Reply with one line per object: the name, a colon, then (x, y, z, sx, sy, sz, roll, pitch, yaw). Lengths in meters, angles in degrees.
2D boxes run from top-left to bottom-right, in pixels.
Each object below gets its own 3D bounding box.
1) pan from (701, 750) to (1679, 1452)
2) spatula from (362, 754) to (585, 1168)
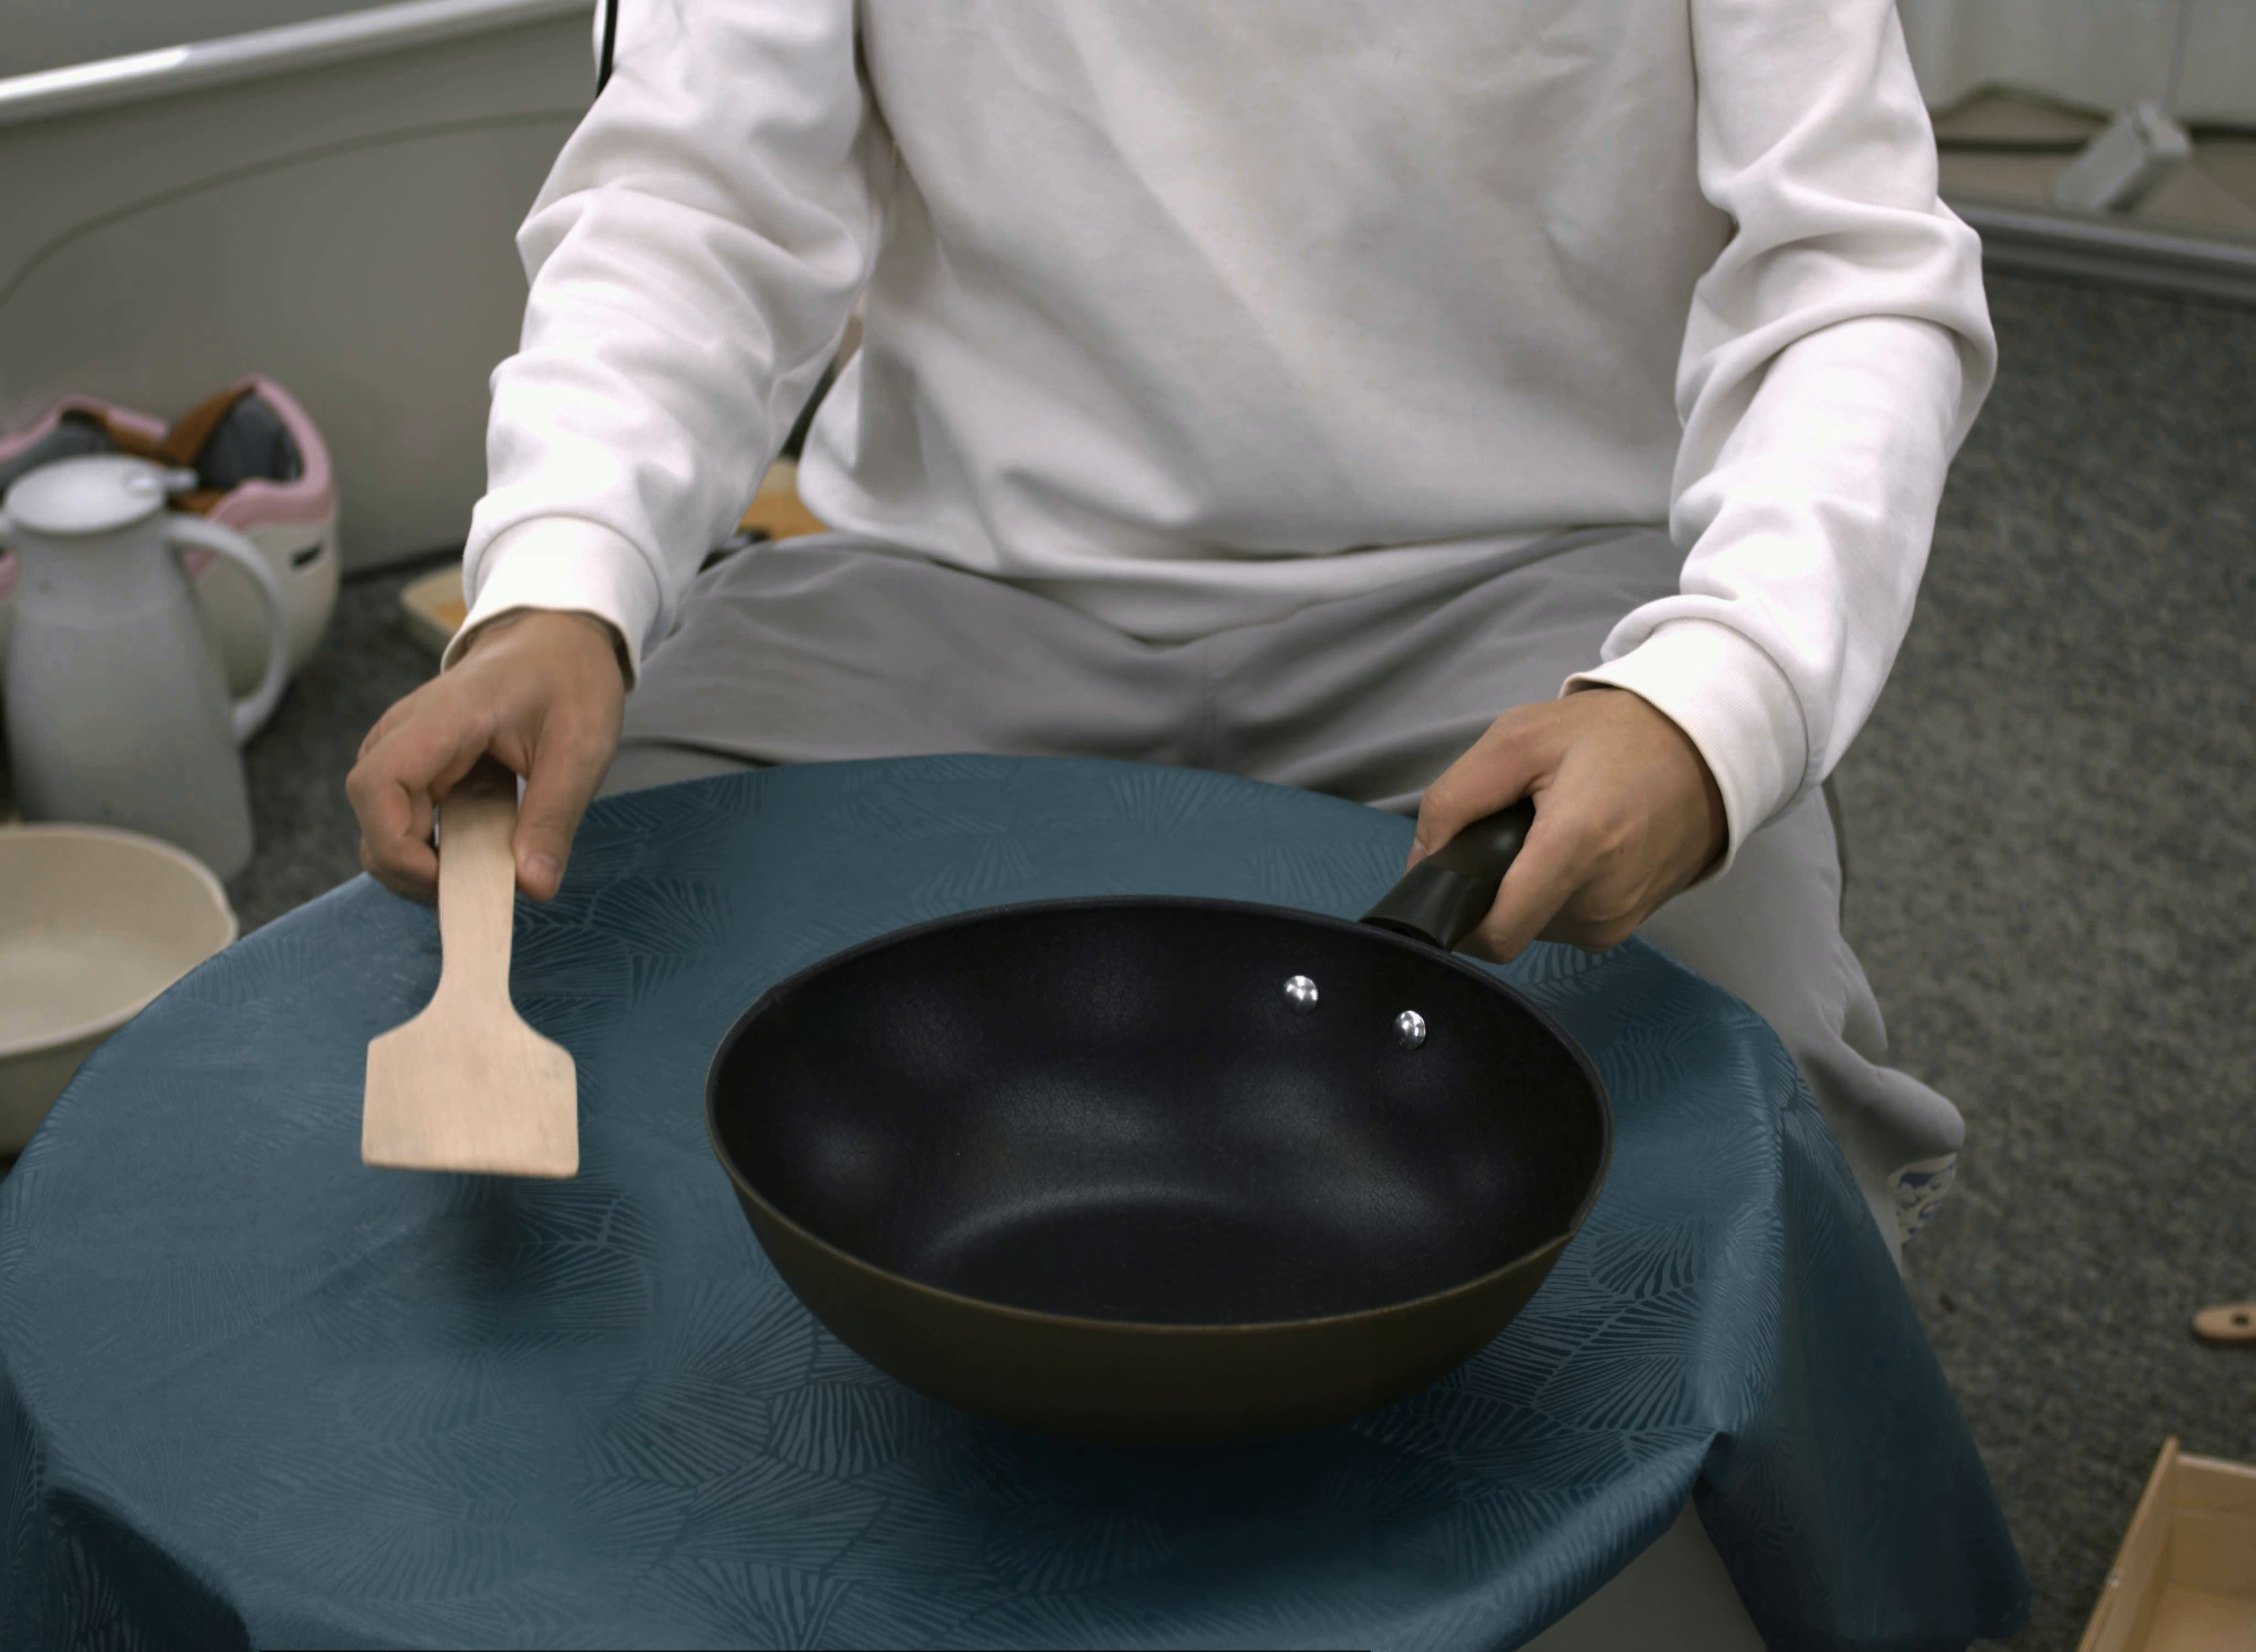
pan: (0.055, 0.085, 1.820, 0.287, 0.086, 0.470, 16, 28, 27)
spatula: (-0.223, 0.043, 1.926, 0.072, 0.010, 0.297, 3, 26, -8)
